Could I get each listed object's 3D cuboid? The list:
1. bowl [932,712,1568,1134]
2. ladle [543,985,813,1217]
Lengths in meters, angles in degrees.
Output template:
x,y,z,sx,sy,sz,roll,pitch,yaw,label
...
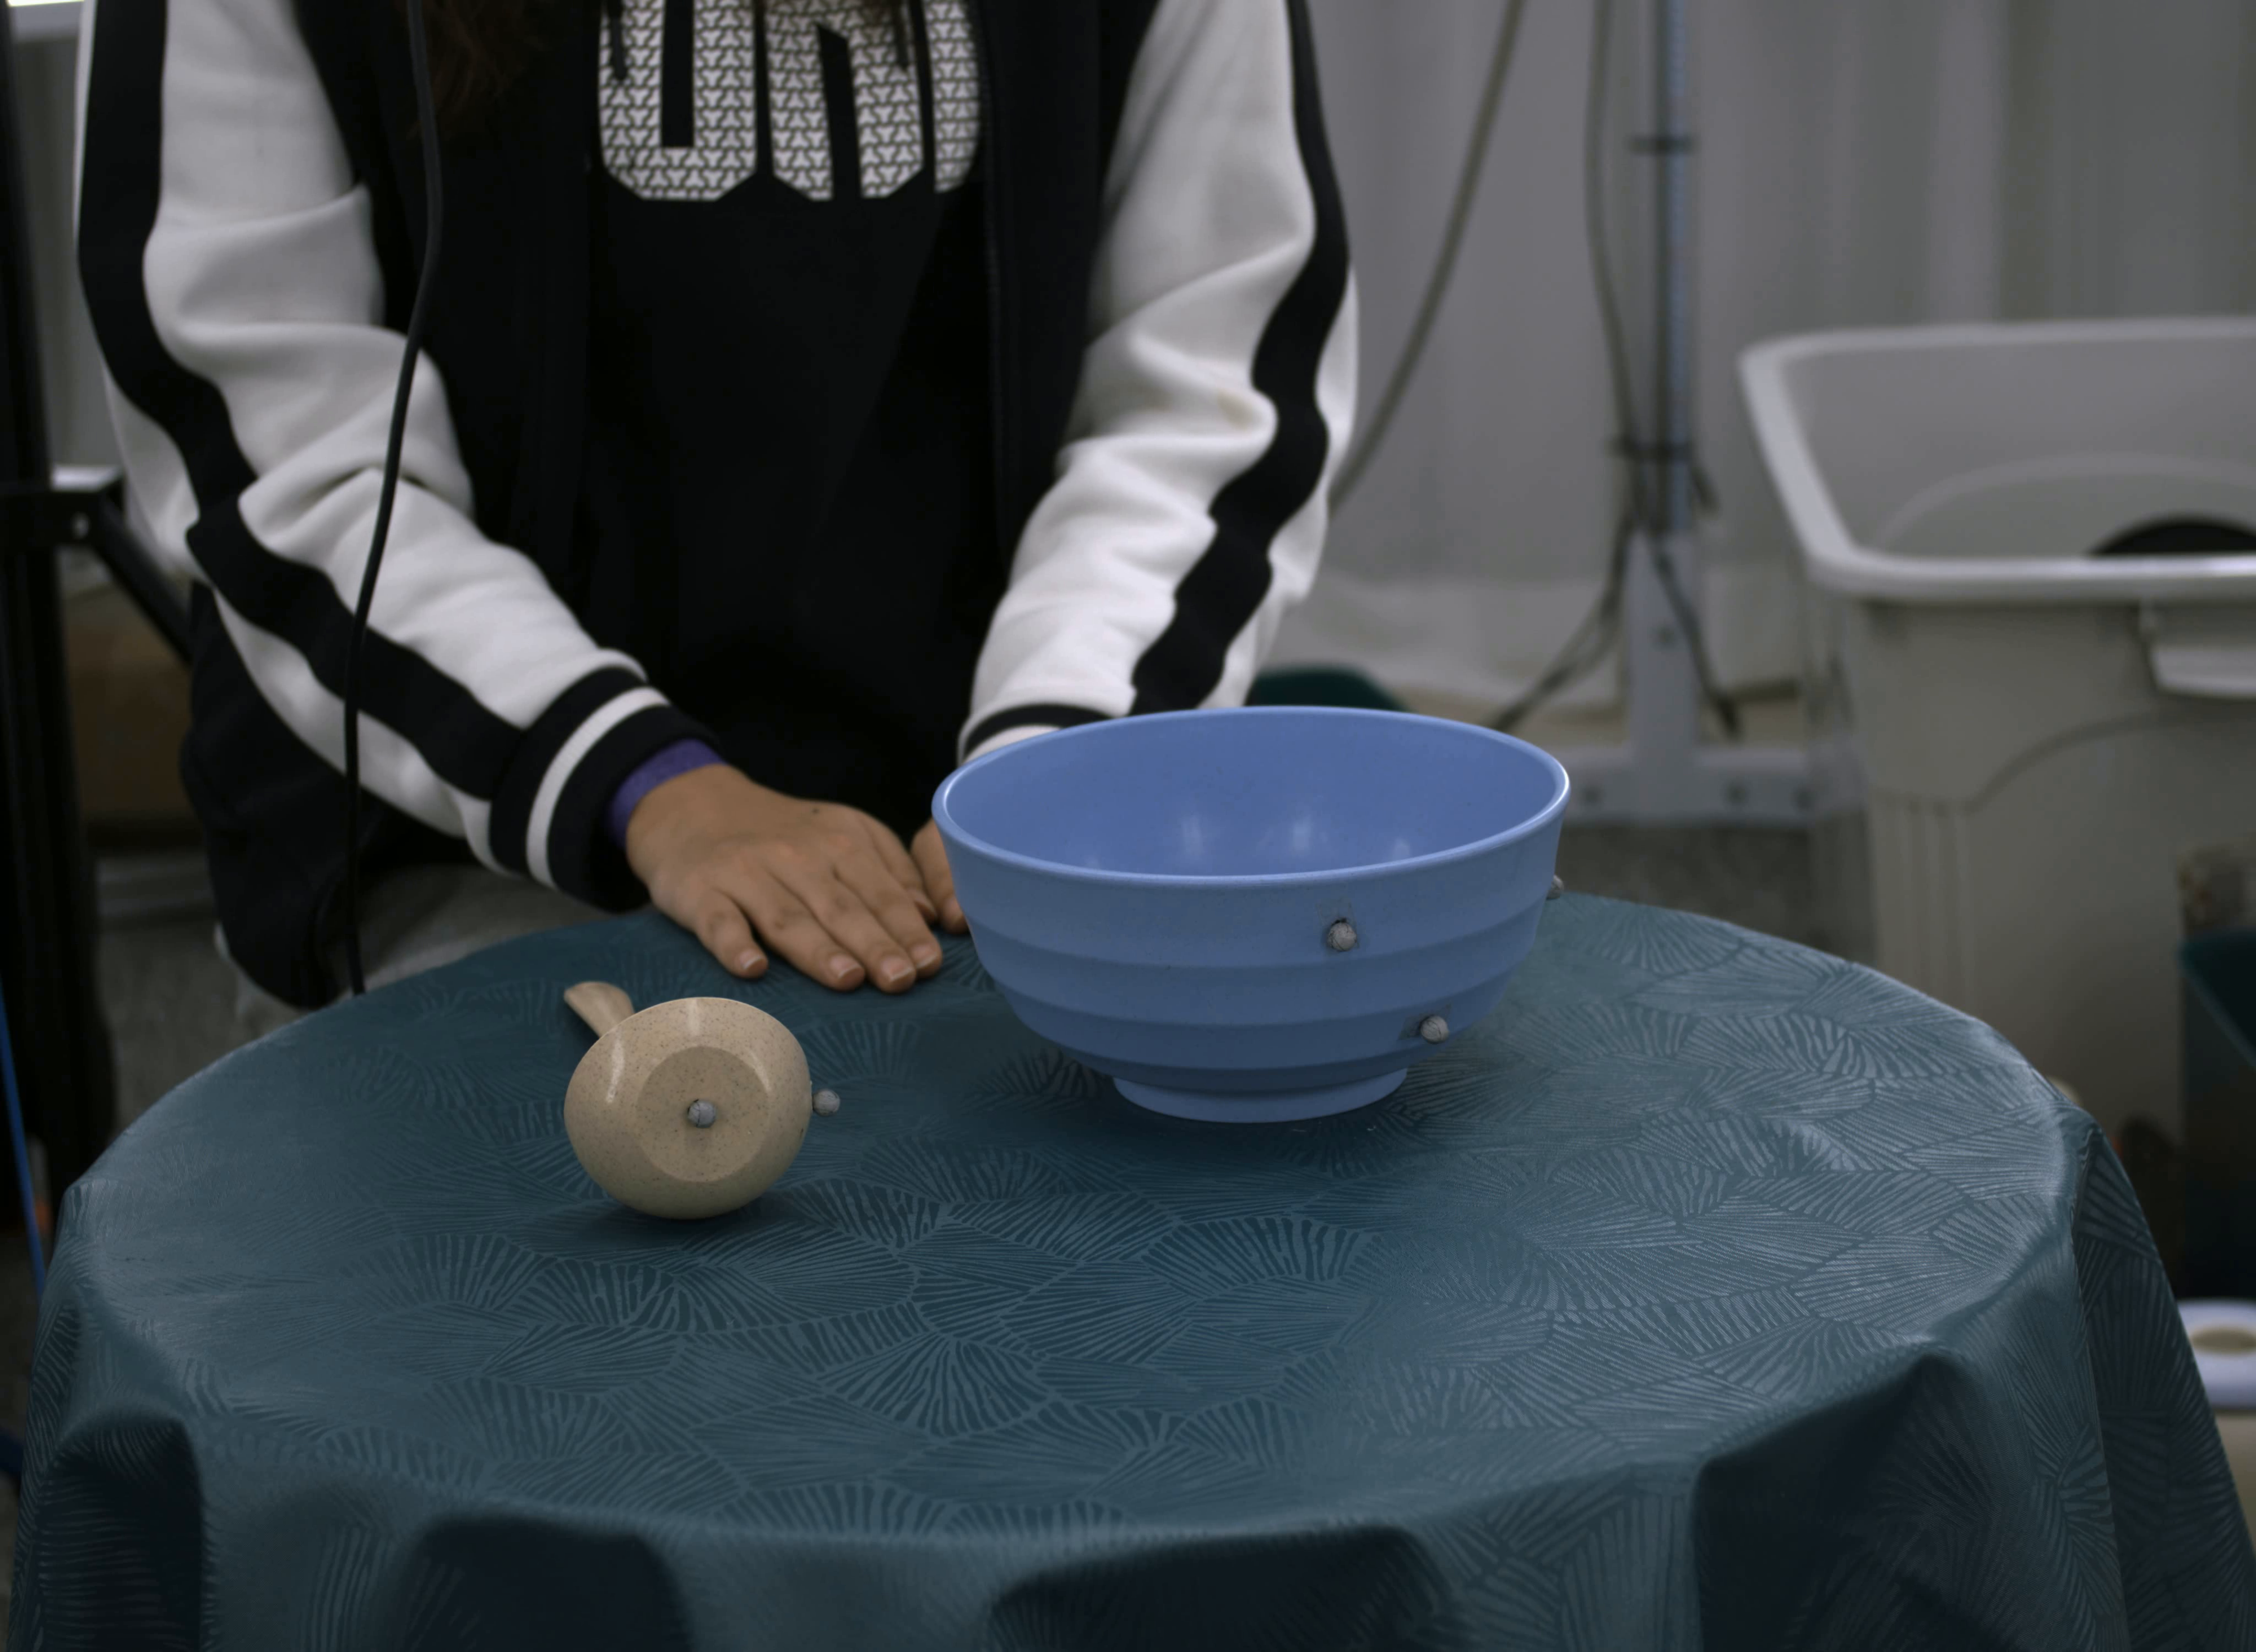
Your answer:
x,y,z,sx,sy,sz,roll,pitch,yaw,label
0.040,0.036,1.643,0.195,0.095,0.197,-4,16,0,bowl
-0.153,0.054,1.640,0.071,0.073,0.258,-5,16,-14,ladle
